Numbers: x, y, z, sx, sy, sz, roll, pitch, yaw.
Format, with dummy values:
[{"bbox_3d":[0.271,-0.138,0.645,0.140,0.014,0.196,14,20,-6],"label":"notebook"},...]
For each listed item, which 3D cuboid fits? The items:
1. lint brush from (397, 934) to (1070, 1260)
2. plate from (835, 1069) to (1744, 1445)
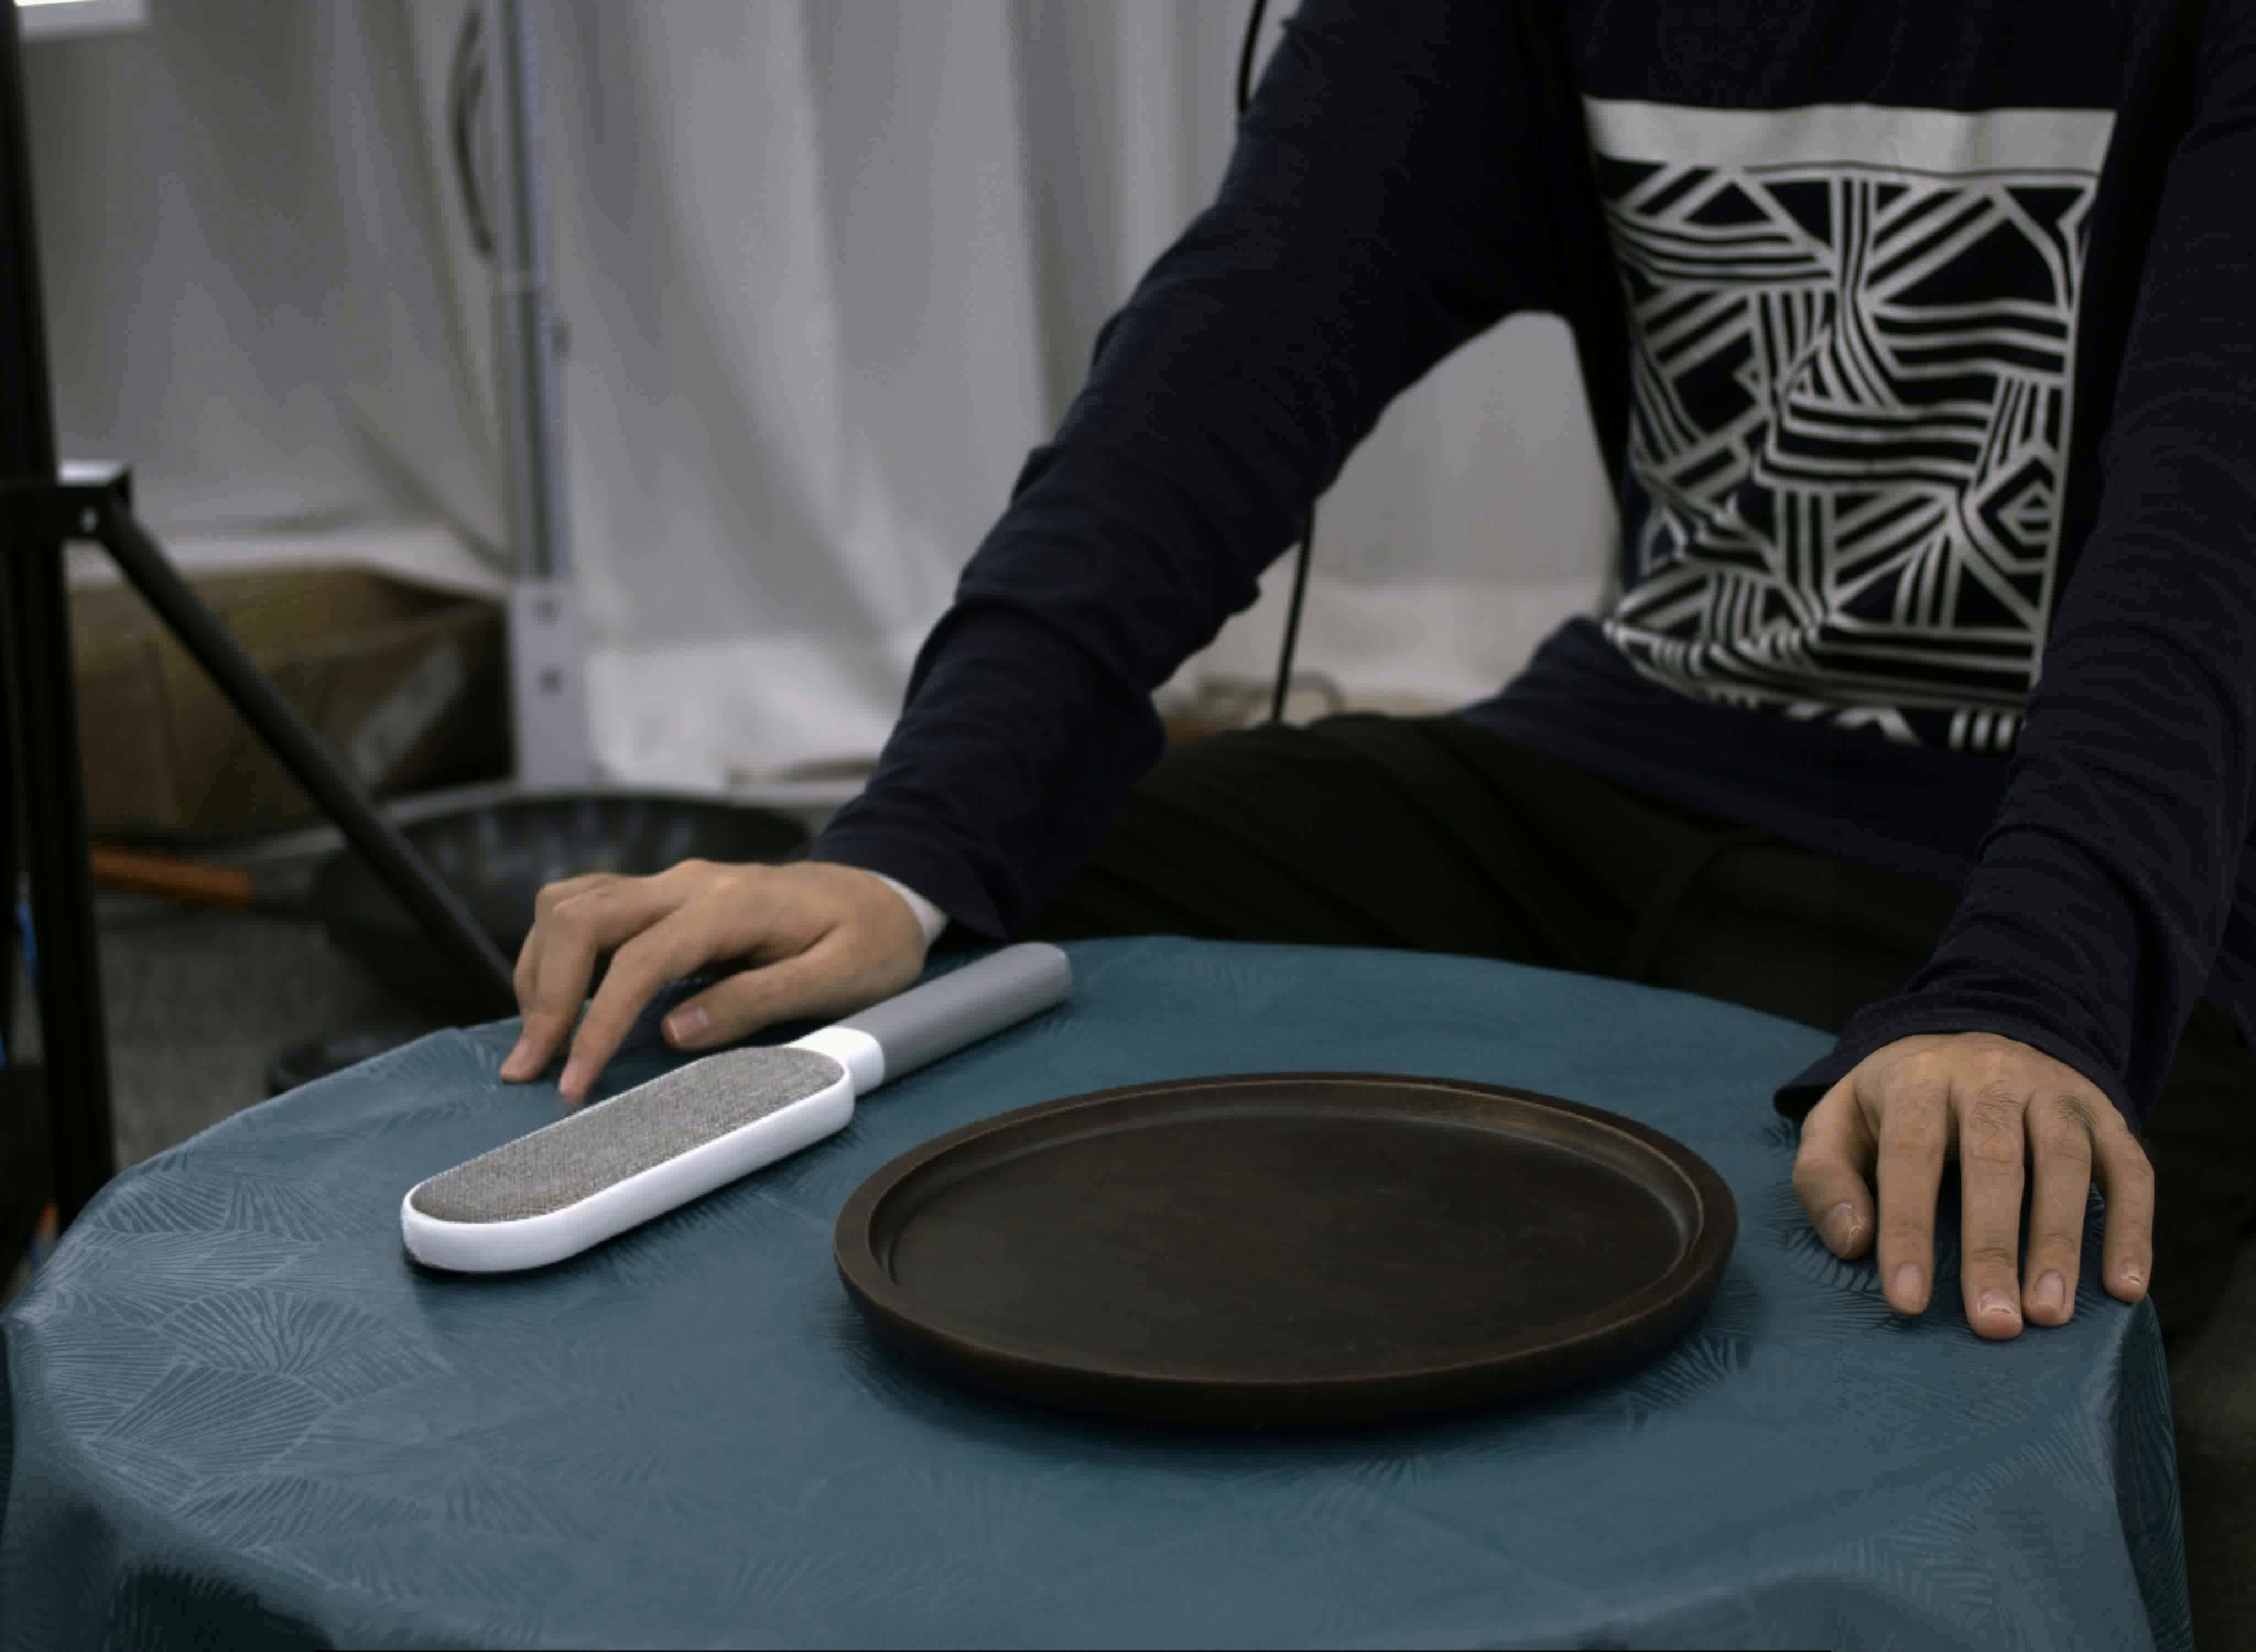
[{"bbox_3d":[-0.110,0.080,1.629,0.061,0.021,0.303,3,16,36],"label":"lint brush"},{"bbox_3d":[0.045,0.117,1.478,0.253,0.029,0.256,-2,17,-1],"label":"plate"}]
